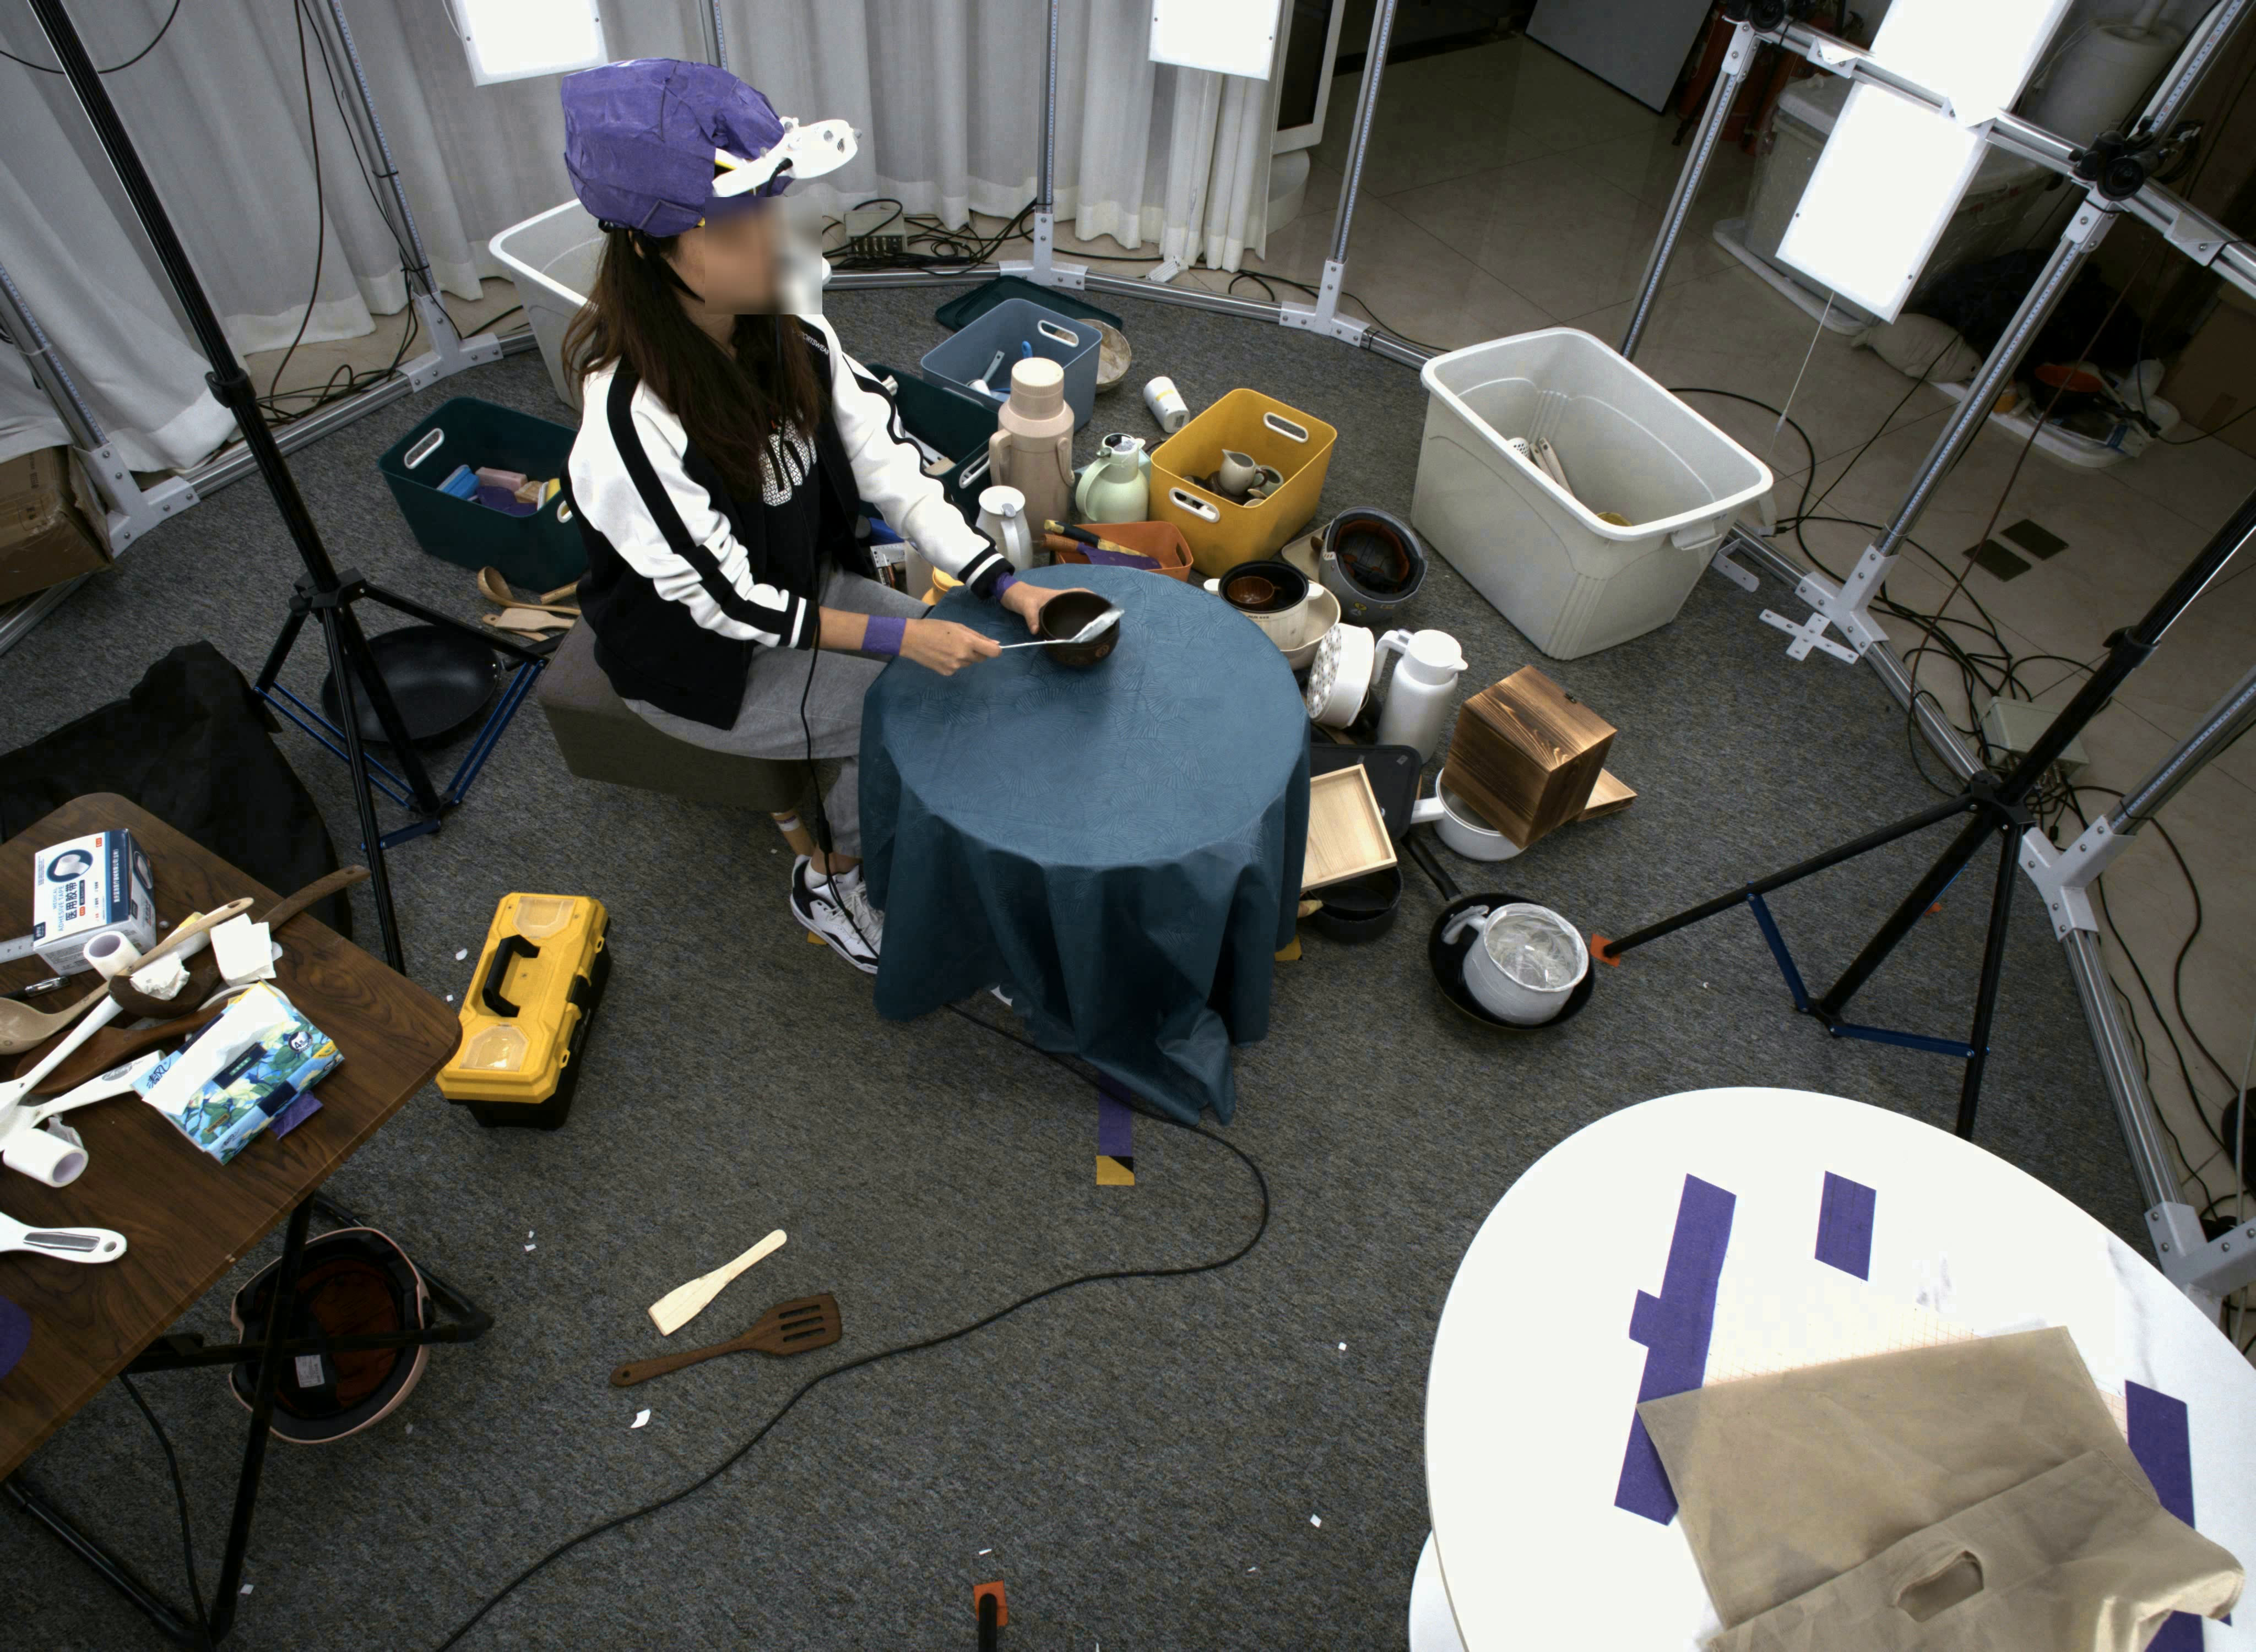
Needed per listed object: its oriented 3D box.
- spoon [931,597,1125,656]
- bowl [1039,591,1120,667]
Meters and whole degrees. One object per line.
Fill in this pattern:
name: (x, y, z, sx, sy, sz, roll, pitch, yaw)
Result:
spoon: (-0.139, -0.278, 1.797, 0.277, 0.059, 0.101, -5, 7, 3)
bowl: (-0.070, -0.277, 1.858, 0.118, 0.068, 0.121, 2, 49, -3)
